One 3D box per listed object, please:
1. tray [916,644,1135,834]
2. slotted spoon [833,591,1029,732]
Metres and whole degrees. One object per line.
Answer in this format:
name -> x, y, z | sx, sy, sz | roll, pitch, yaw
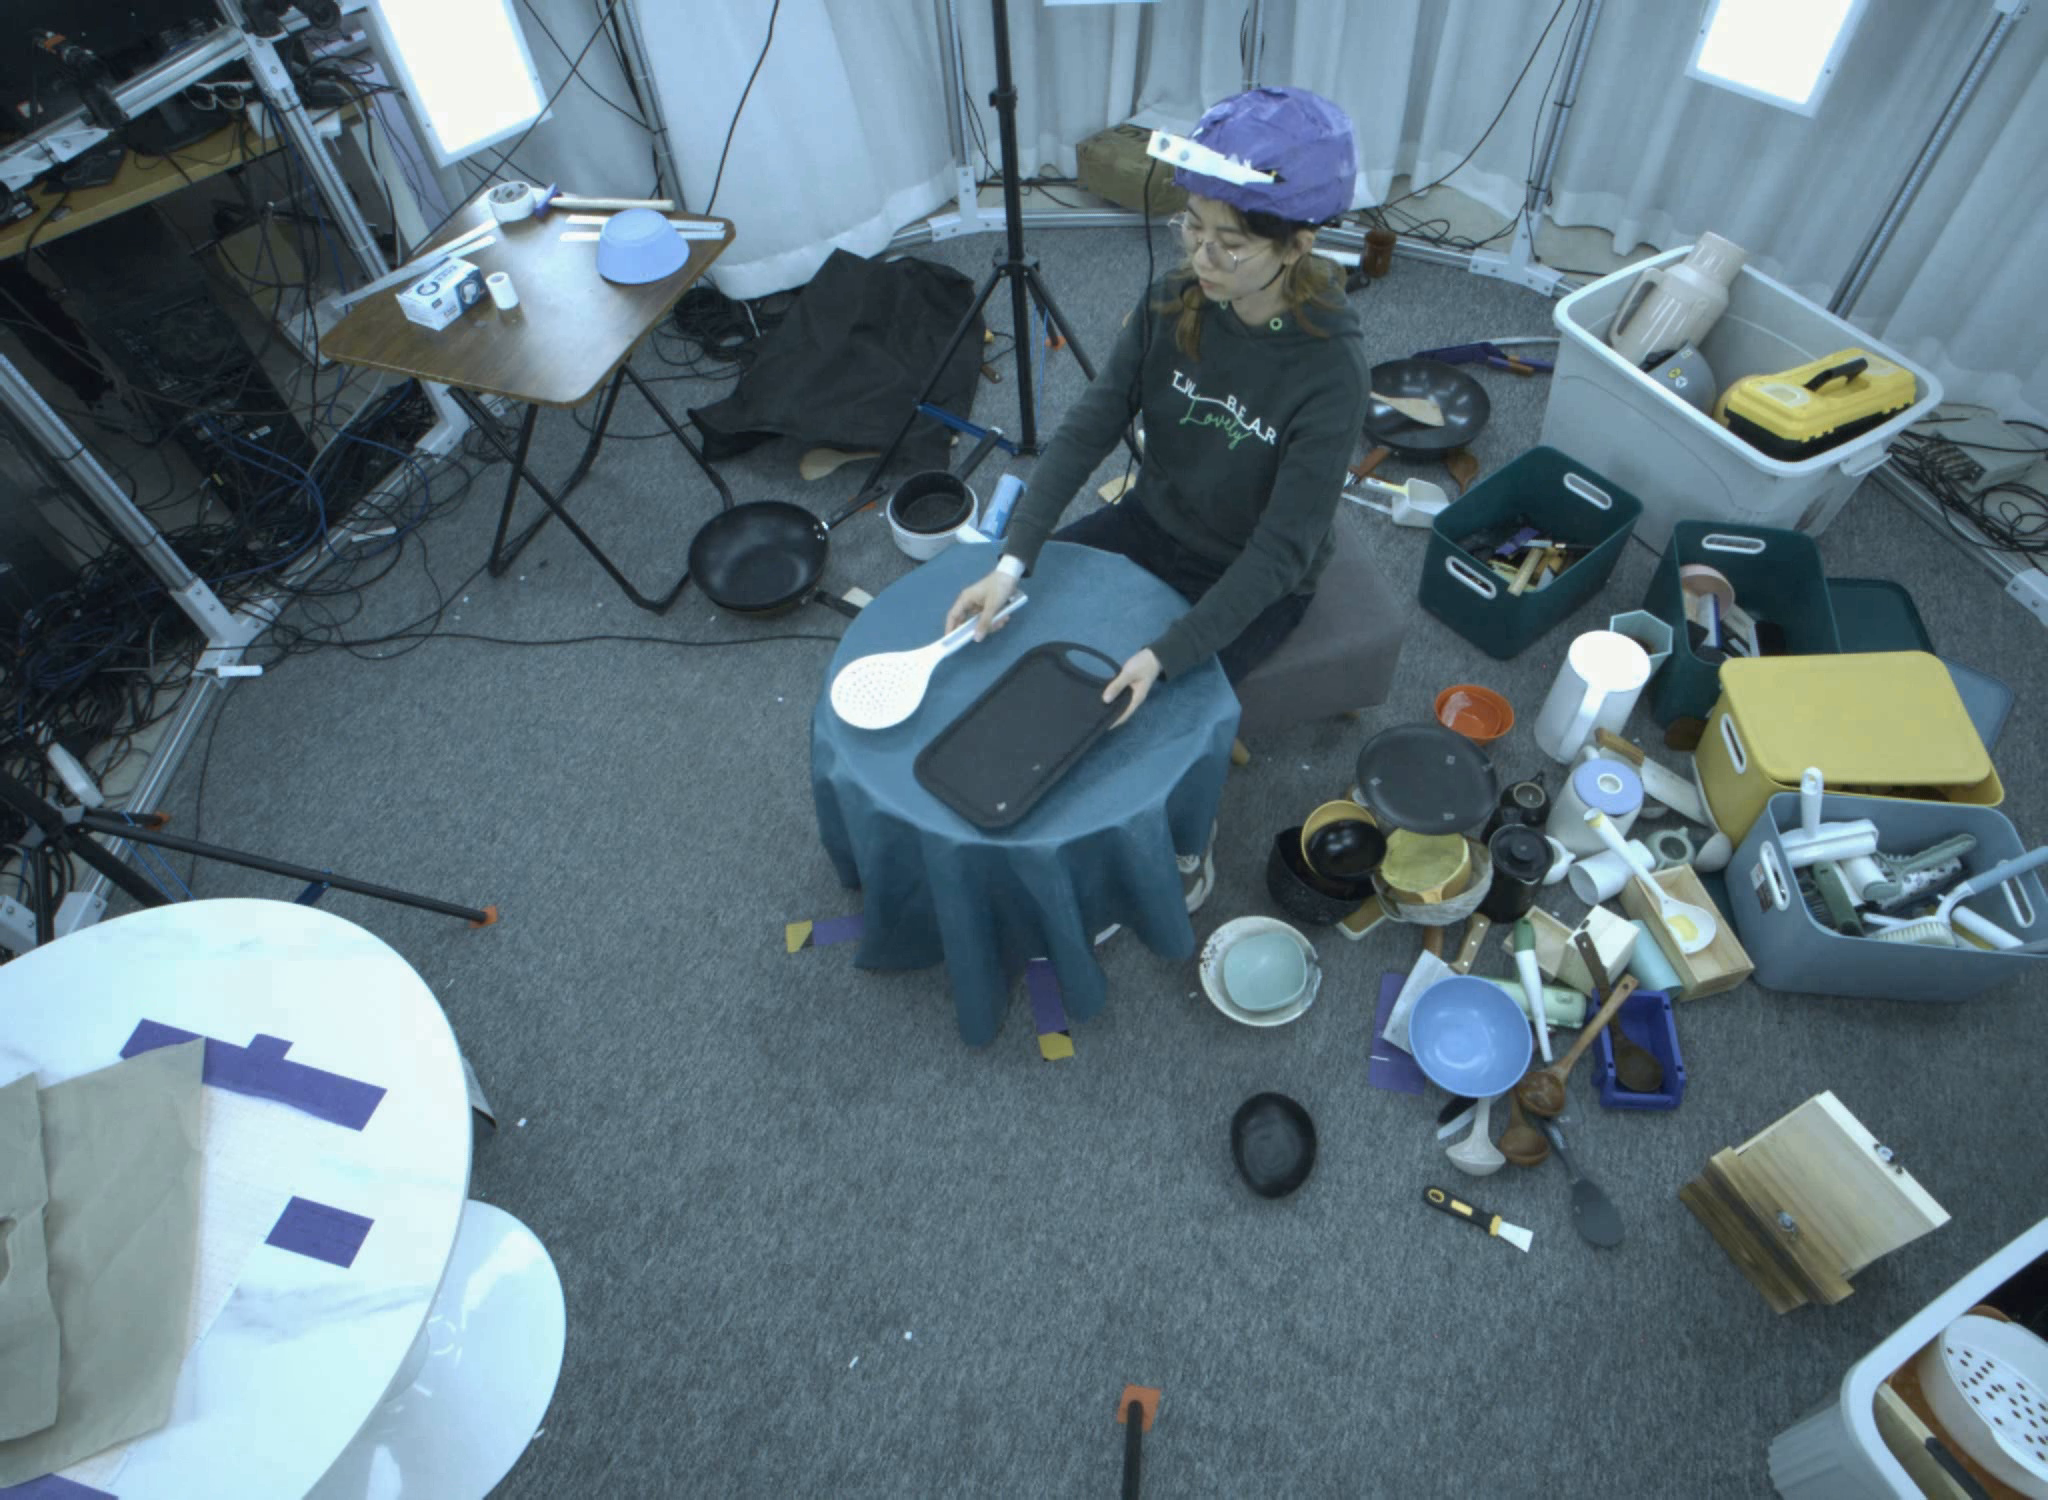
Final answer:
tray -> 0.006, -0.029, 1.775 | 0.206, 0.010, 0.327 | 34, 70, 32
slotted spoon -> -0.132, -0.141, 1.852 | 0.351, 0.046, 0.134 | -39, 65, -16
